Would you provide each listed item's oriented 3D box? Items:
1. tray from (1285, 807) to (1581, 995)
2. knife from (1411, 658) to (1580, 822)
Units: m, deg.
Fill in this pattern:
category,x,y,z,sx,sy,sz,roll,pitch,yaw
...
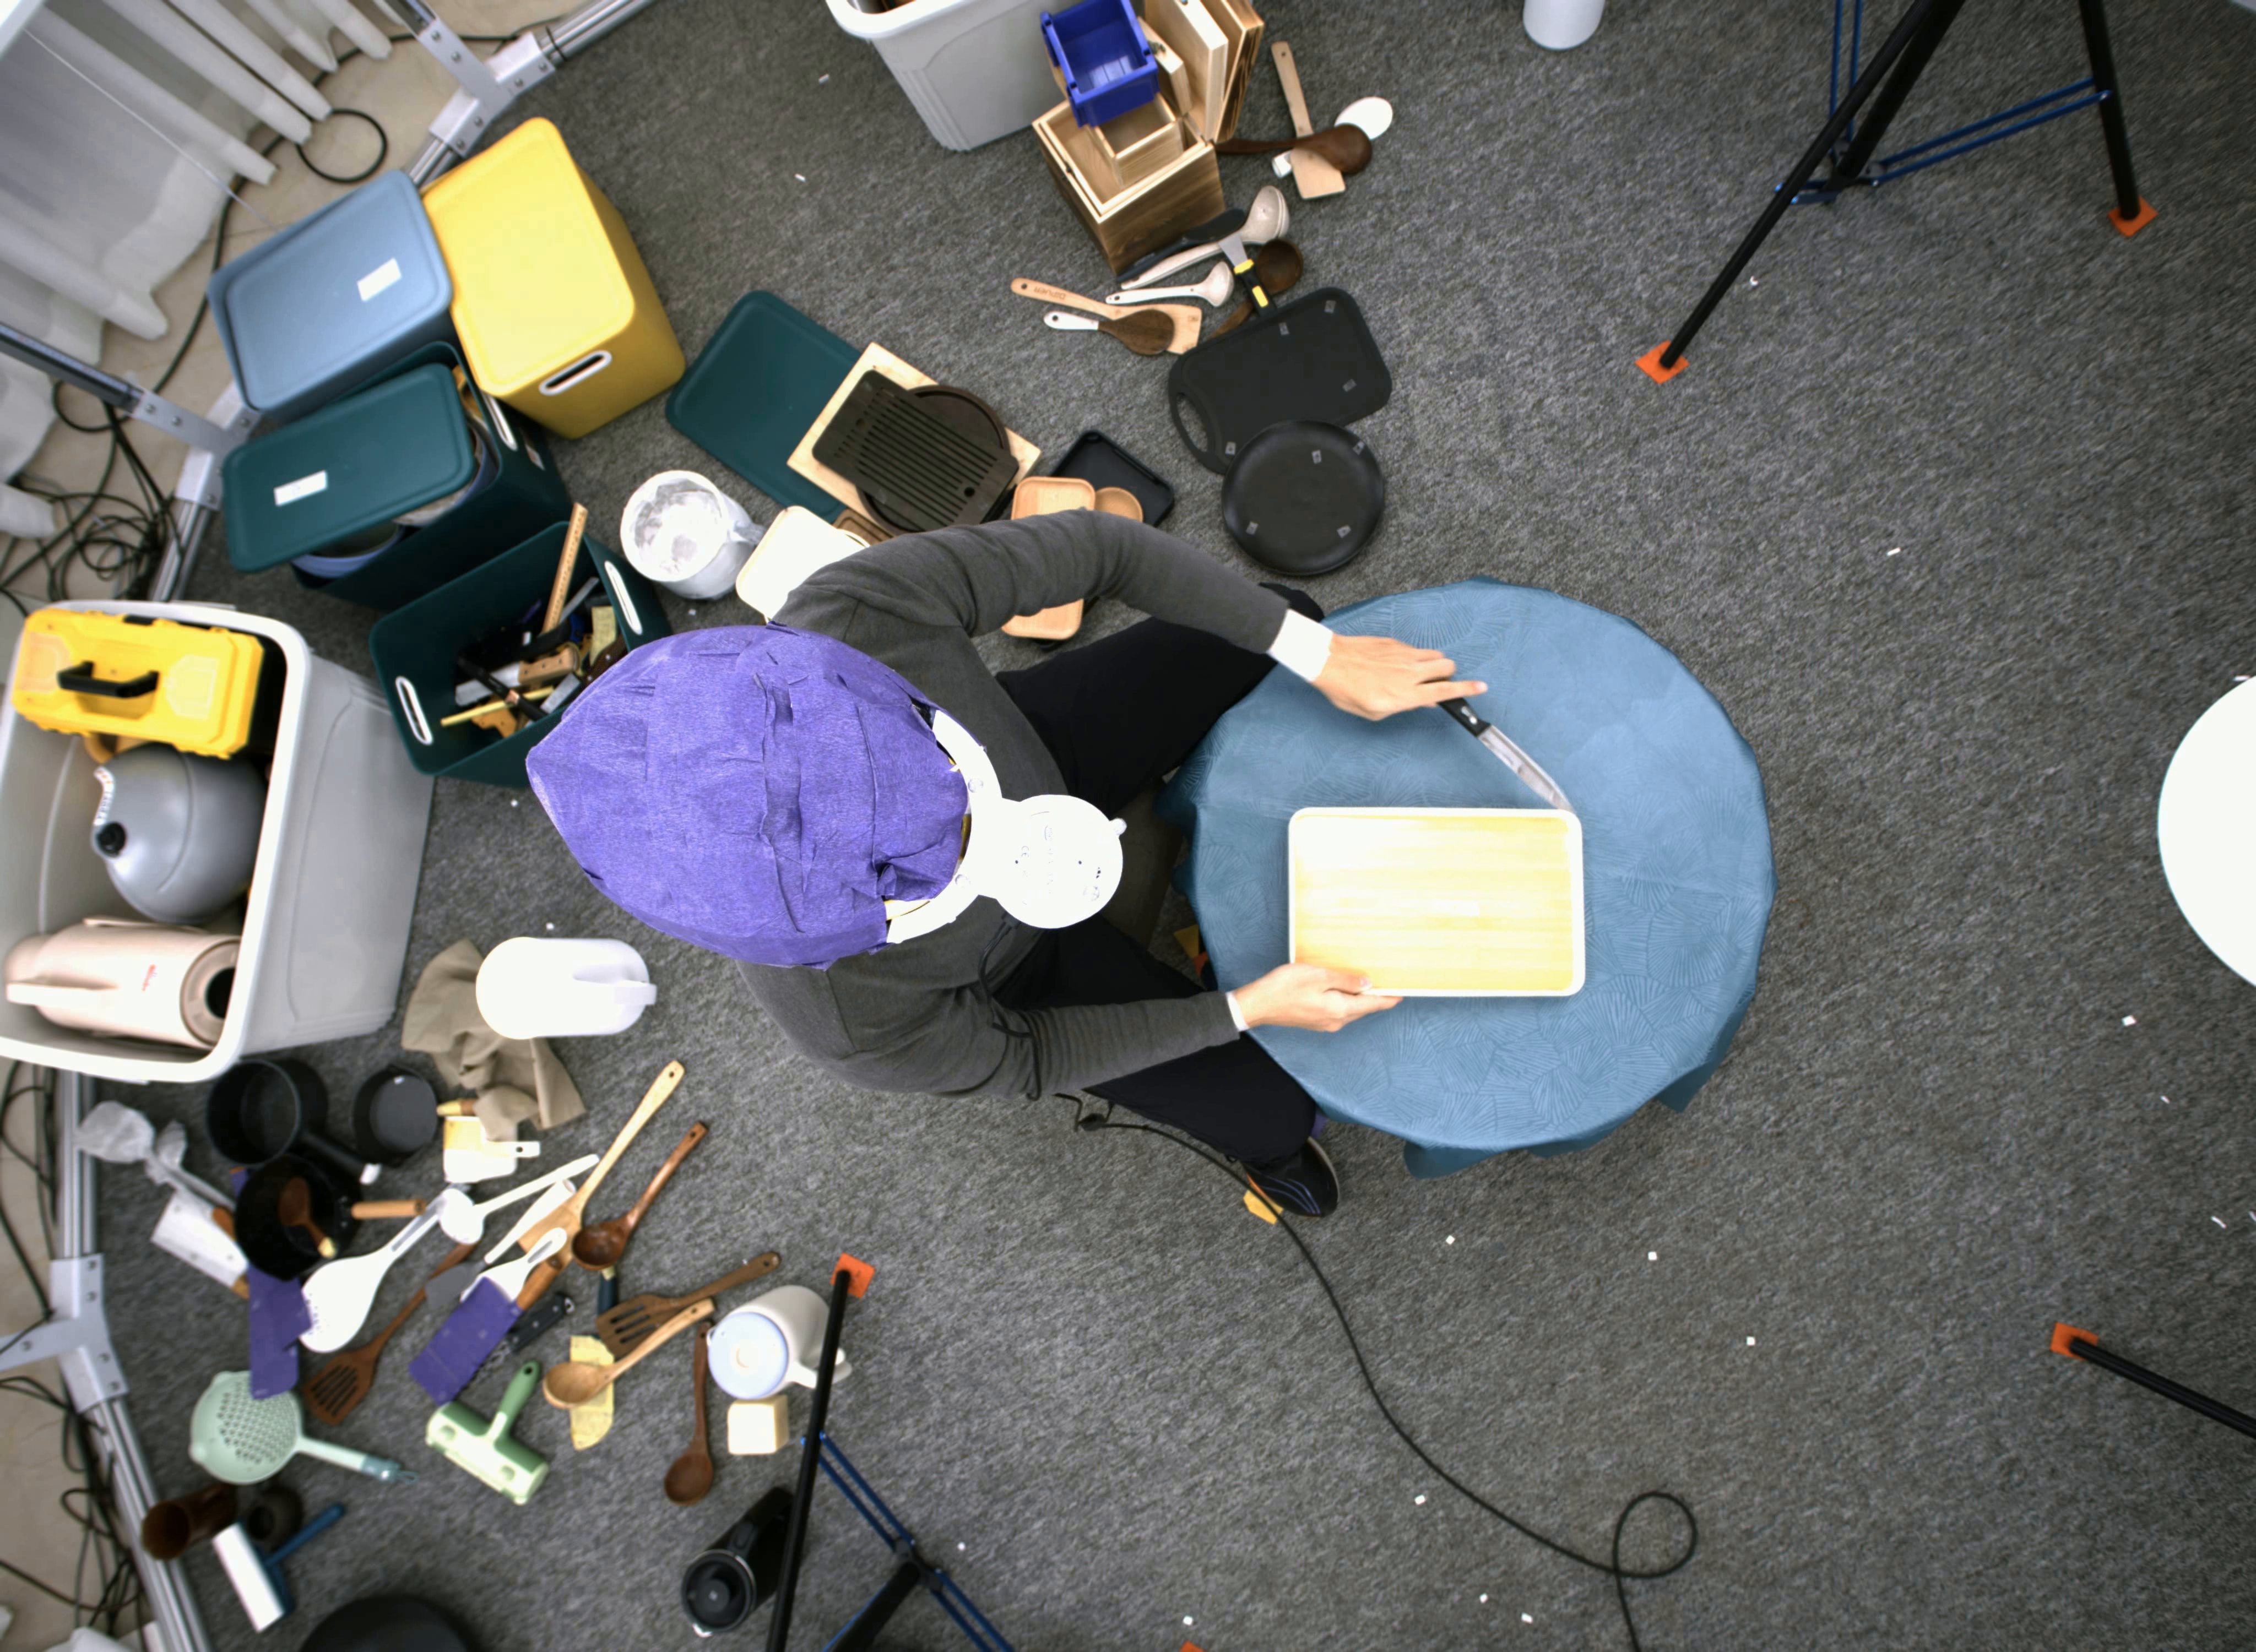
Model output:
category,x,y,z,sx,sy,sz,roll,pitch,yaw
tray,0.311,0.075,1.413,0.301,0.027,0.190,0,85,1
knife,0.363,-0.087,1.366,0.024,0.016,0.235,-39,67,-5
